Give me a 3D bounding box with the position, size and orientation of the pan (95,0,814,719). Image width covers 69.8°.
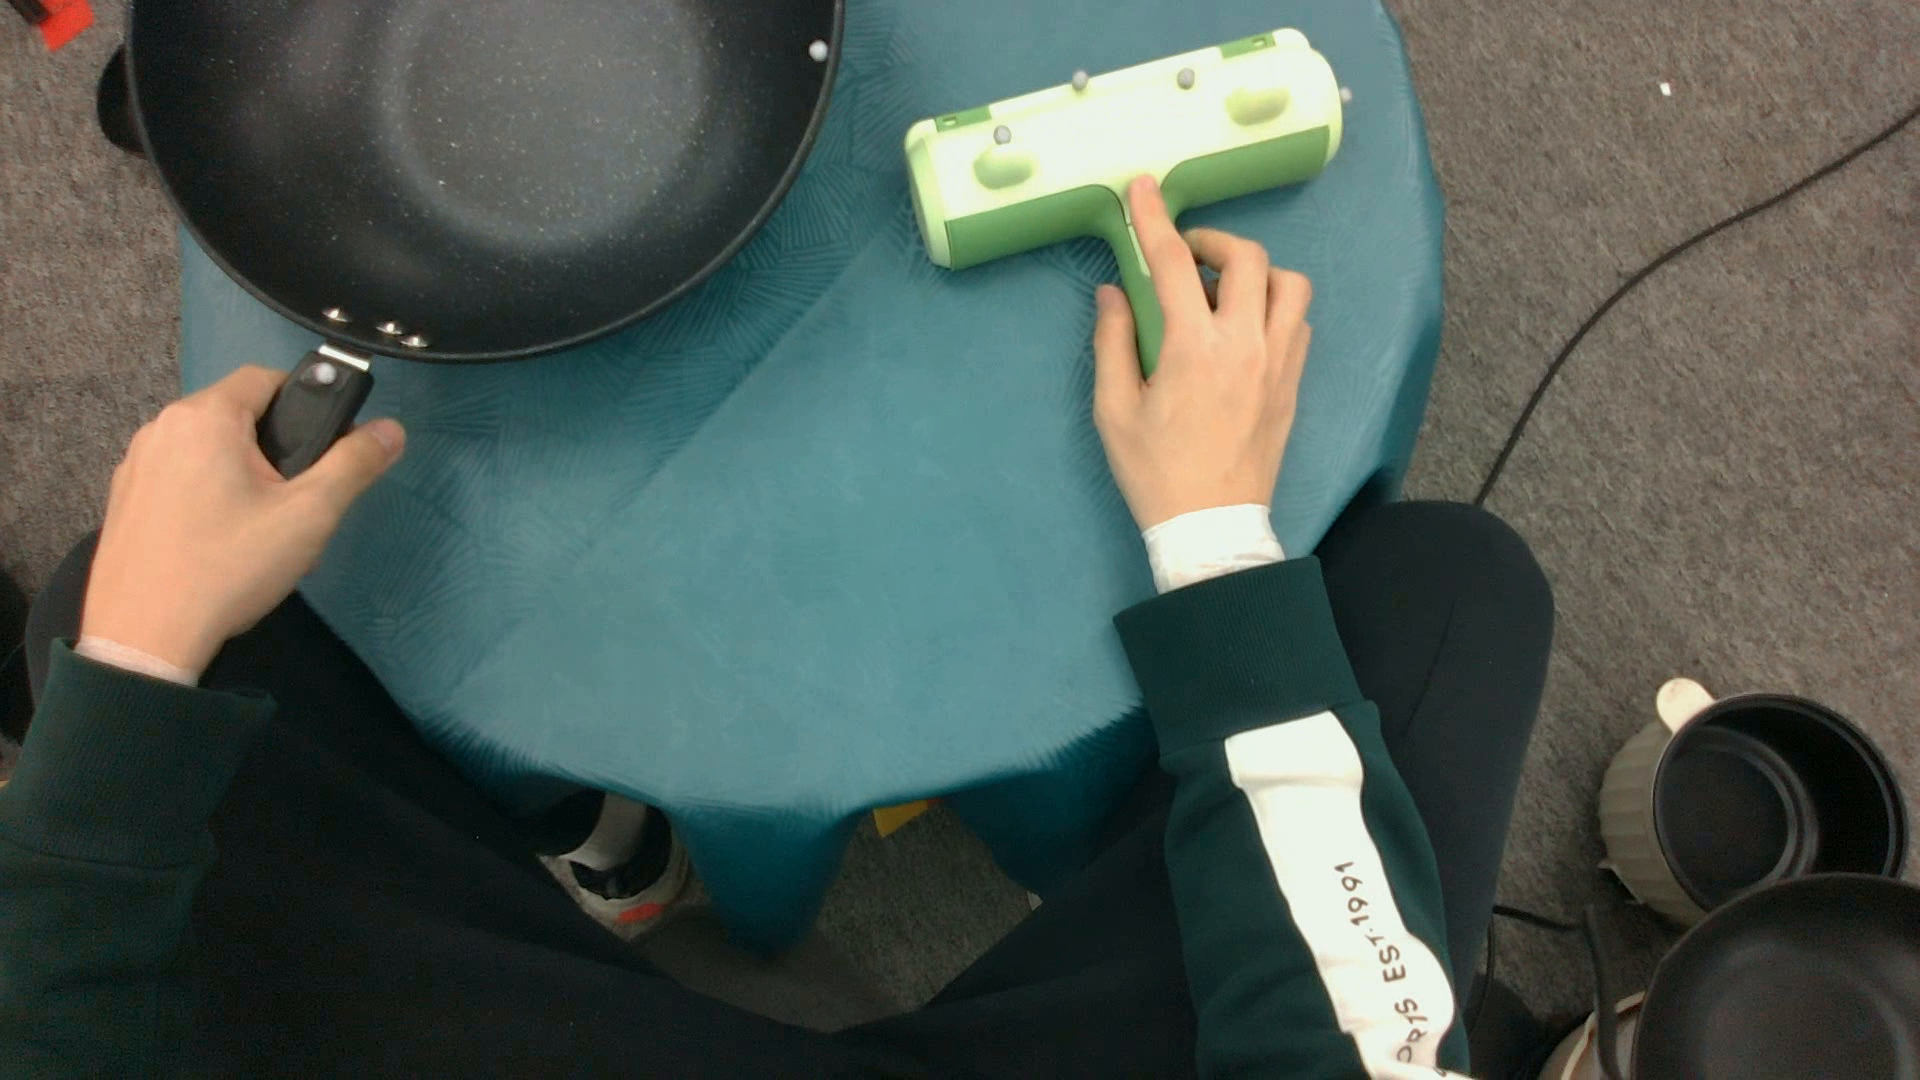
[{"bbox_3d":[-0.241,-0.152,0.603,0.310,0.111,0.477,17,84,4],"label":"pan"}]

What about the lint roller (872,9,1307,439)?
[{"bbox_3d":[0.076,-0.139,0.614,0.199,0.082,0.183,-16,73,-4],"label":"lint roller"}]
